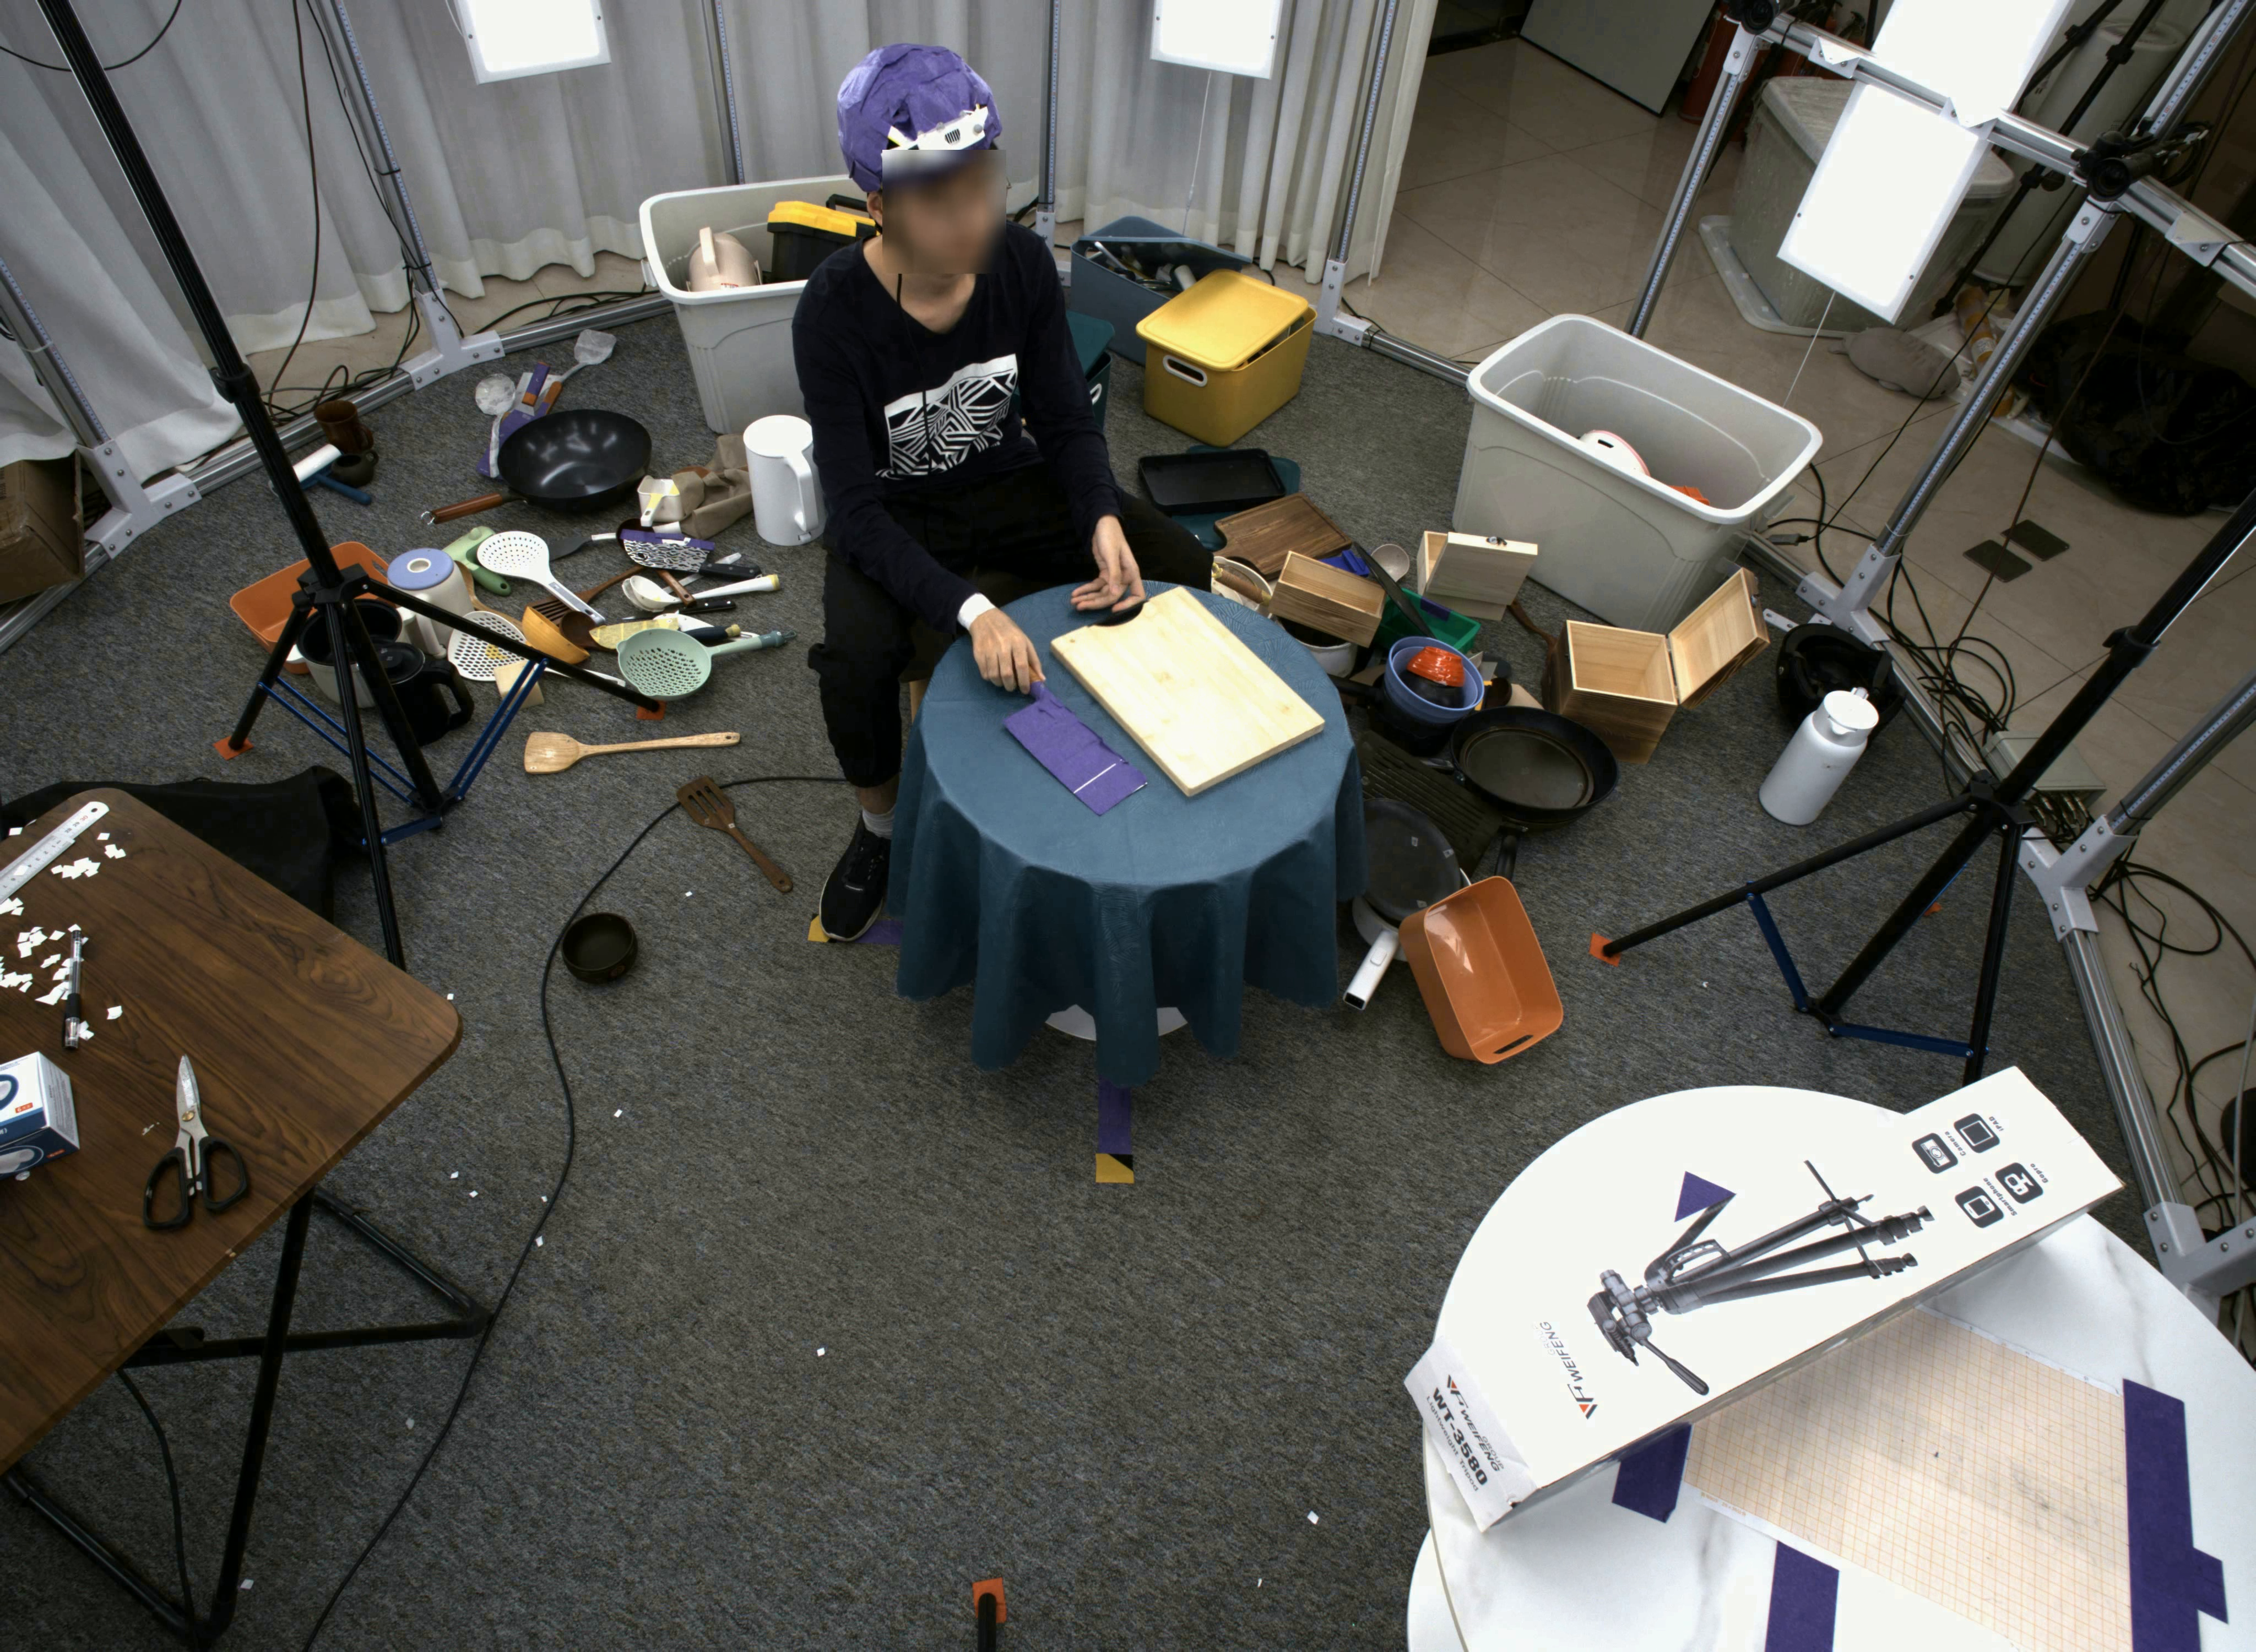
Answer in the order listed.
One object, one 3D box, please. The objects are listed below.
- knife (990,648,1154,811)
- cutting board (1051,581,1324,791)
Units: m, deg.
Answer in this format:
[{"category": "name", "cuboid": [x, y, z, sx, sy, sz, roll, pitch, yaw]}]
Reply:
[{"category": "knife", "cuboid": [-0.105, -0.137, 1.761, 0.104, 0.031, 0.320, -33, 59, -27]}, {"category": "cutting board", "cuboid": [0.080, -0.209, 1.843, 0.252, 0.023, 0.355, -26, 55, -24]}]
